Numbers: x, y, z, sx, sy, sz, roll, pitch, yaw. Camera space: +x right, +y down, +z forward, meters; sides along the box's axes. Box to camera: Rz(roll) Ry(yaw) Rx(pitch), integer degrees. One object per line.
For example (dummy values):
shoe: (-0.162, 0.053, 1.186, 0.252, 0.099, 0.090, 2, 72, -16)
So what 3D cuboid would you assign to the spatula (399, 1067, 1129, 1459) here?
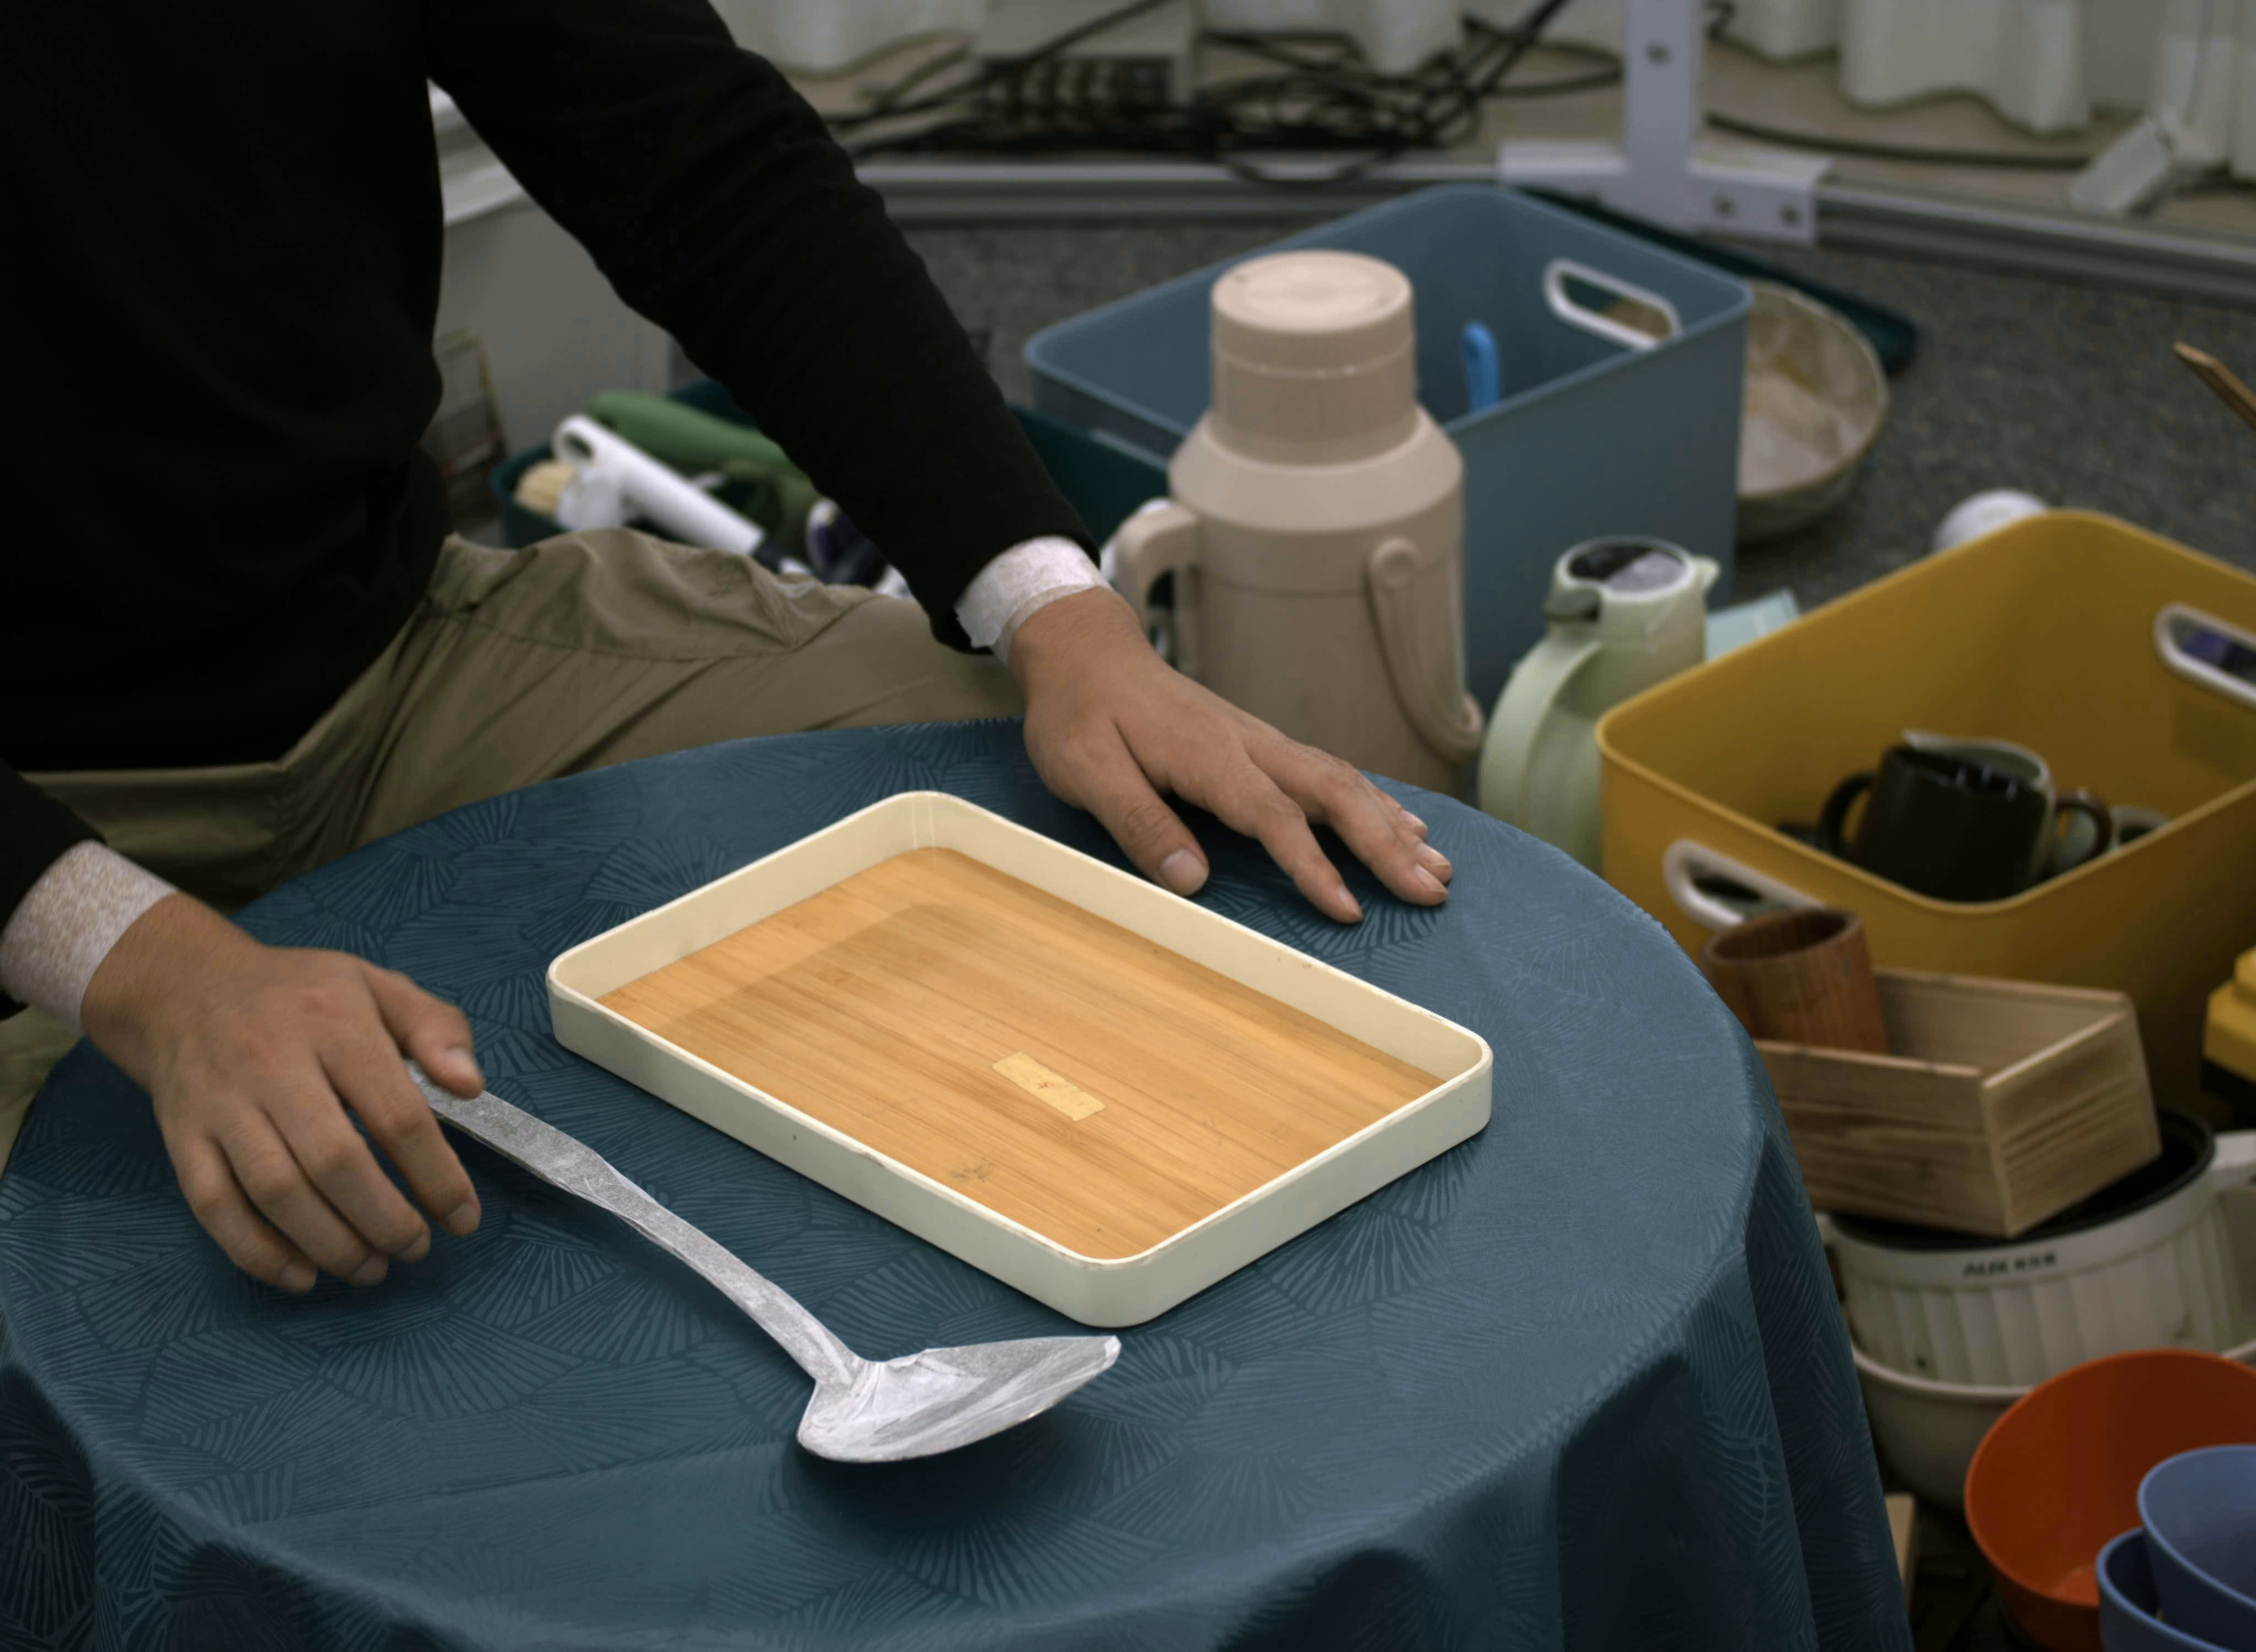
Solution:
spatula: (-0.141, 0.132, 1.814, 0.100, 0.044, 0.365, -23, 34, -33)

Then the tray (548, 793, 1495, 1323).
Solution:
tray: (-0.040, 0.074, 1.927, 0.194, 0.027, 0.300, -25, 35, -37)
